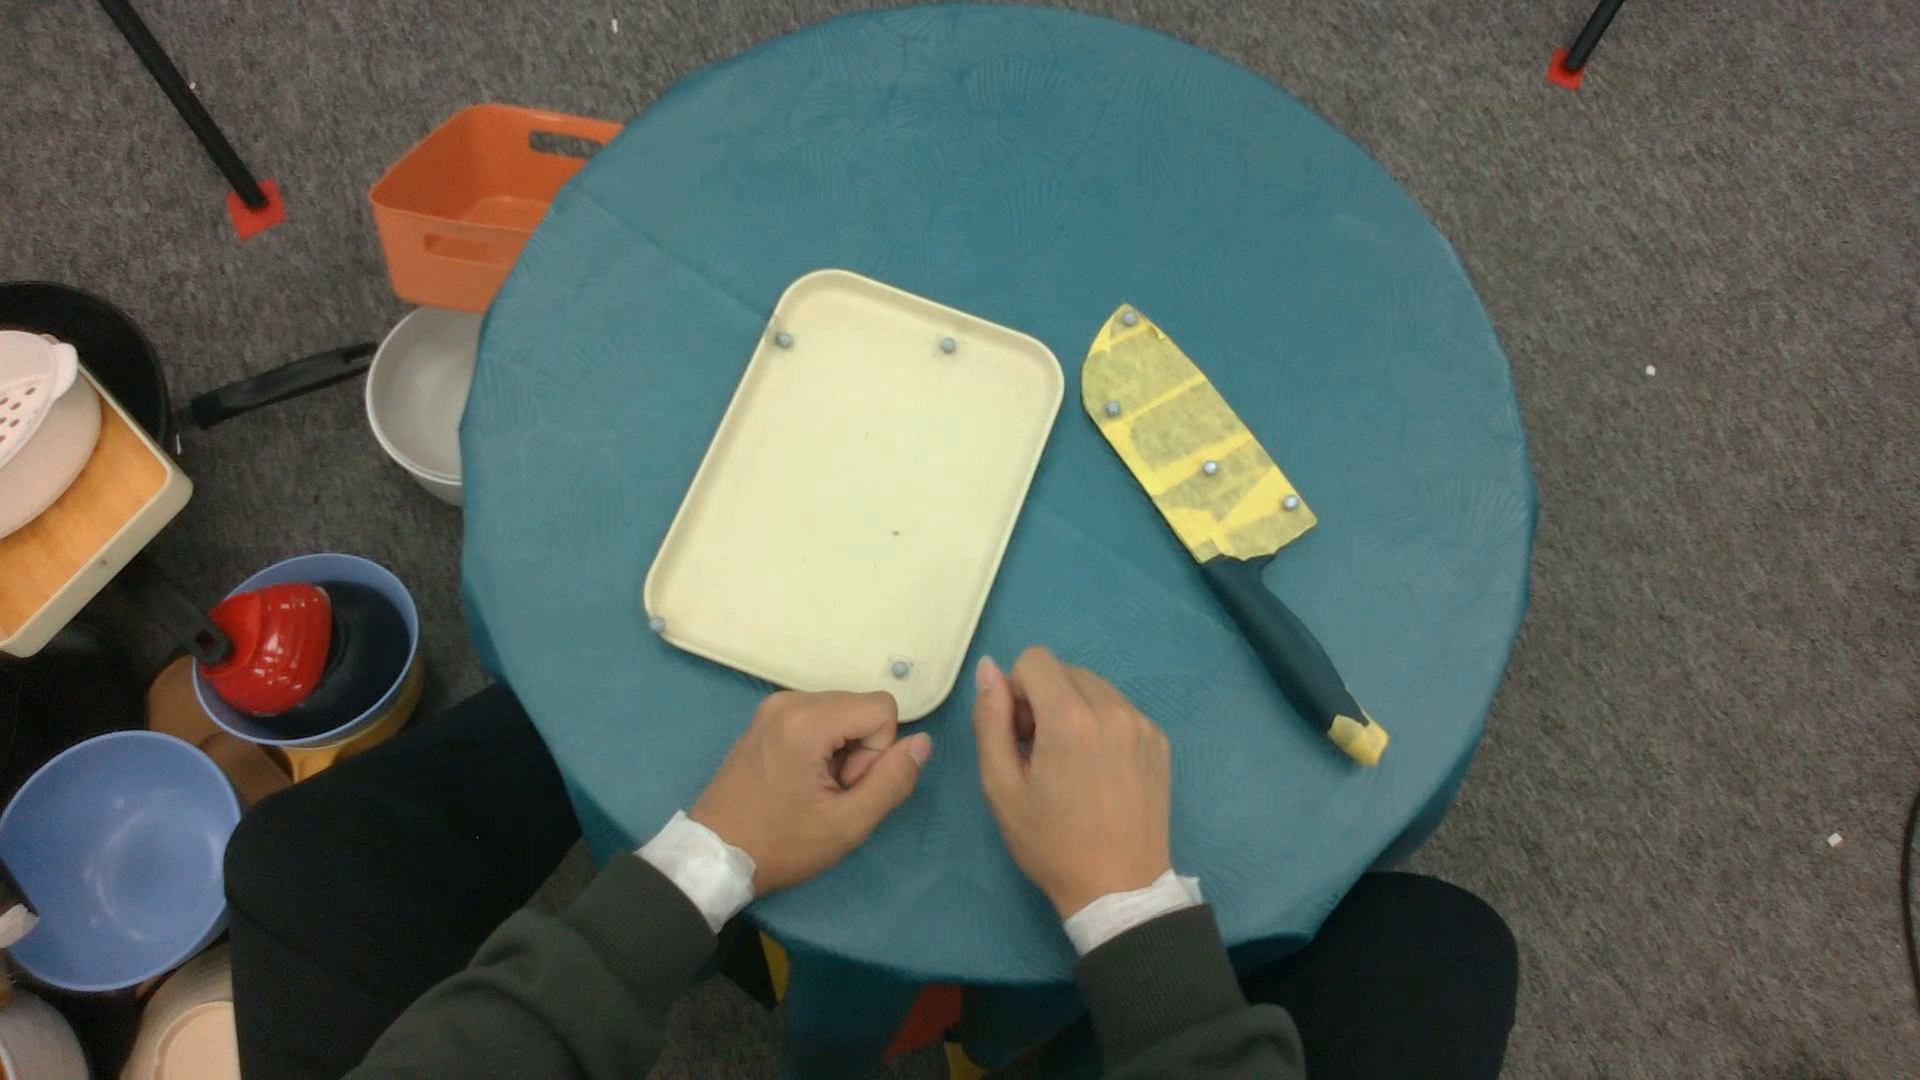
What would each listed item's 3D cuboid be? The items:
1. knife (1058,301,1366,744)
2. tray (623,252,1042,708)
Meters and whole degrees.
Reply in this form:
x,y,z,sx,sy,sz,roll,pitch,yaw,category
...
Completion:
x,y,z,sx,sy,sz,roll,pitch,yaw,category
0.142,-0.020,0.760,0.081,0.027,0.290,-27,73,-12,knife
-0.064,-0.037,0.746,0.171,0.017,0.240,20,69,2,tray
